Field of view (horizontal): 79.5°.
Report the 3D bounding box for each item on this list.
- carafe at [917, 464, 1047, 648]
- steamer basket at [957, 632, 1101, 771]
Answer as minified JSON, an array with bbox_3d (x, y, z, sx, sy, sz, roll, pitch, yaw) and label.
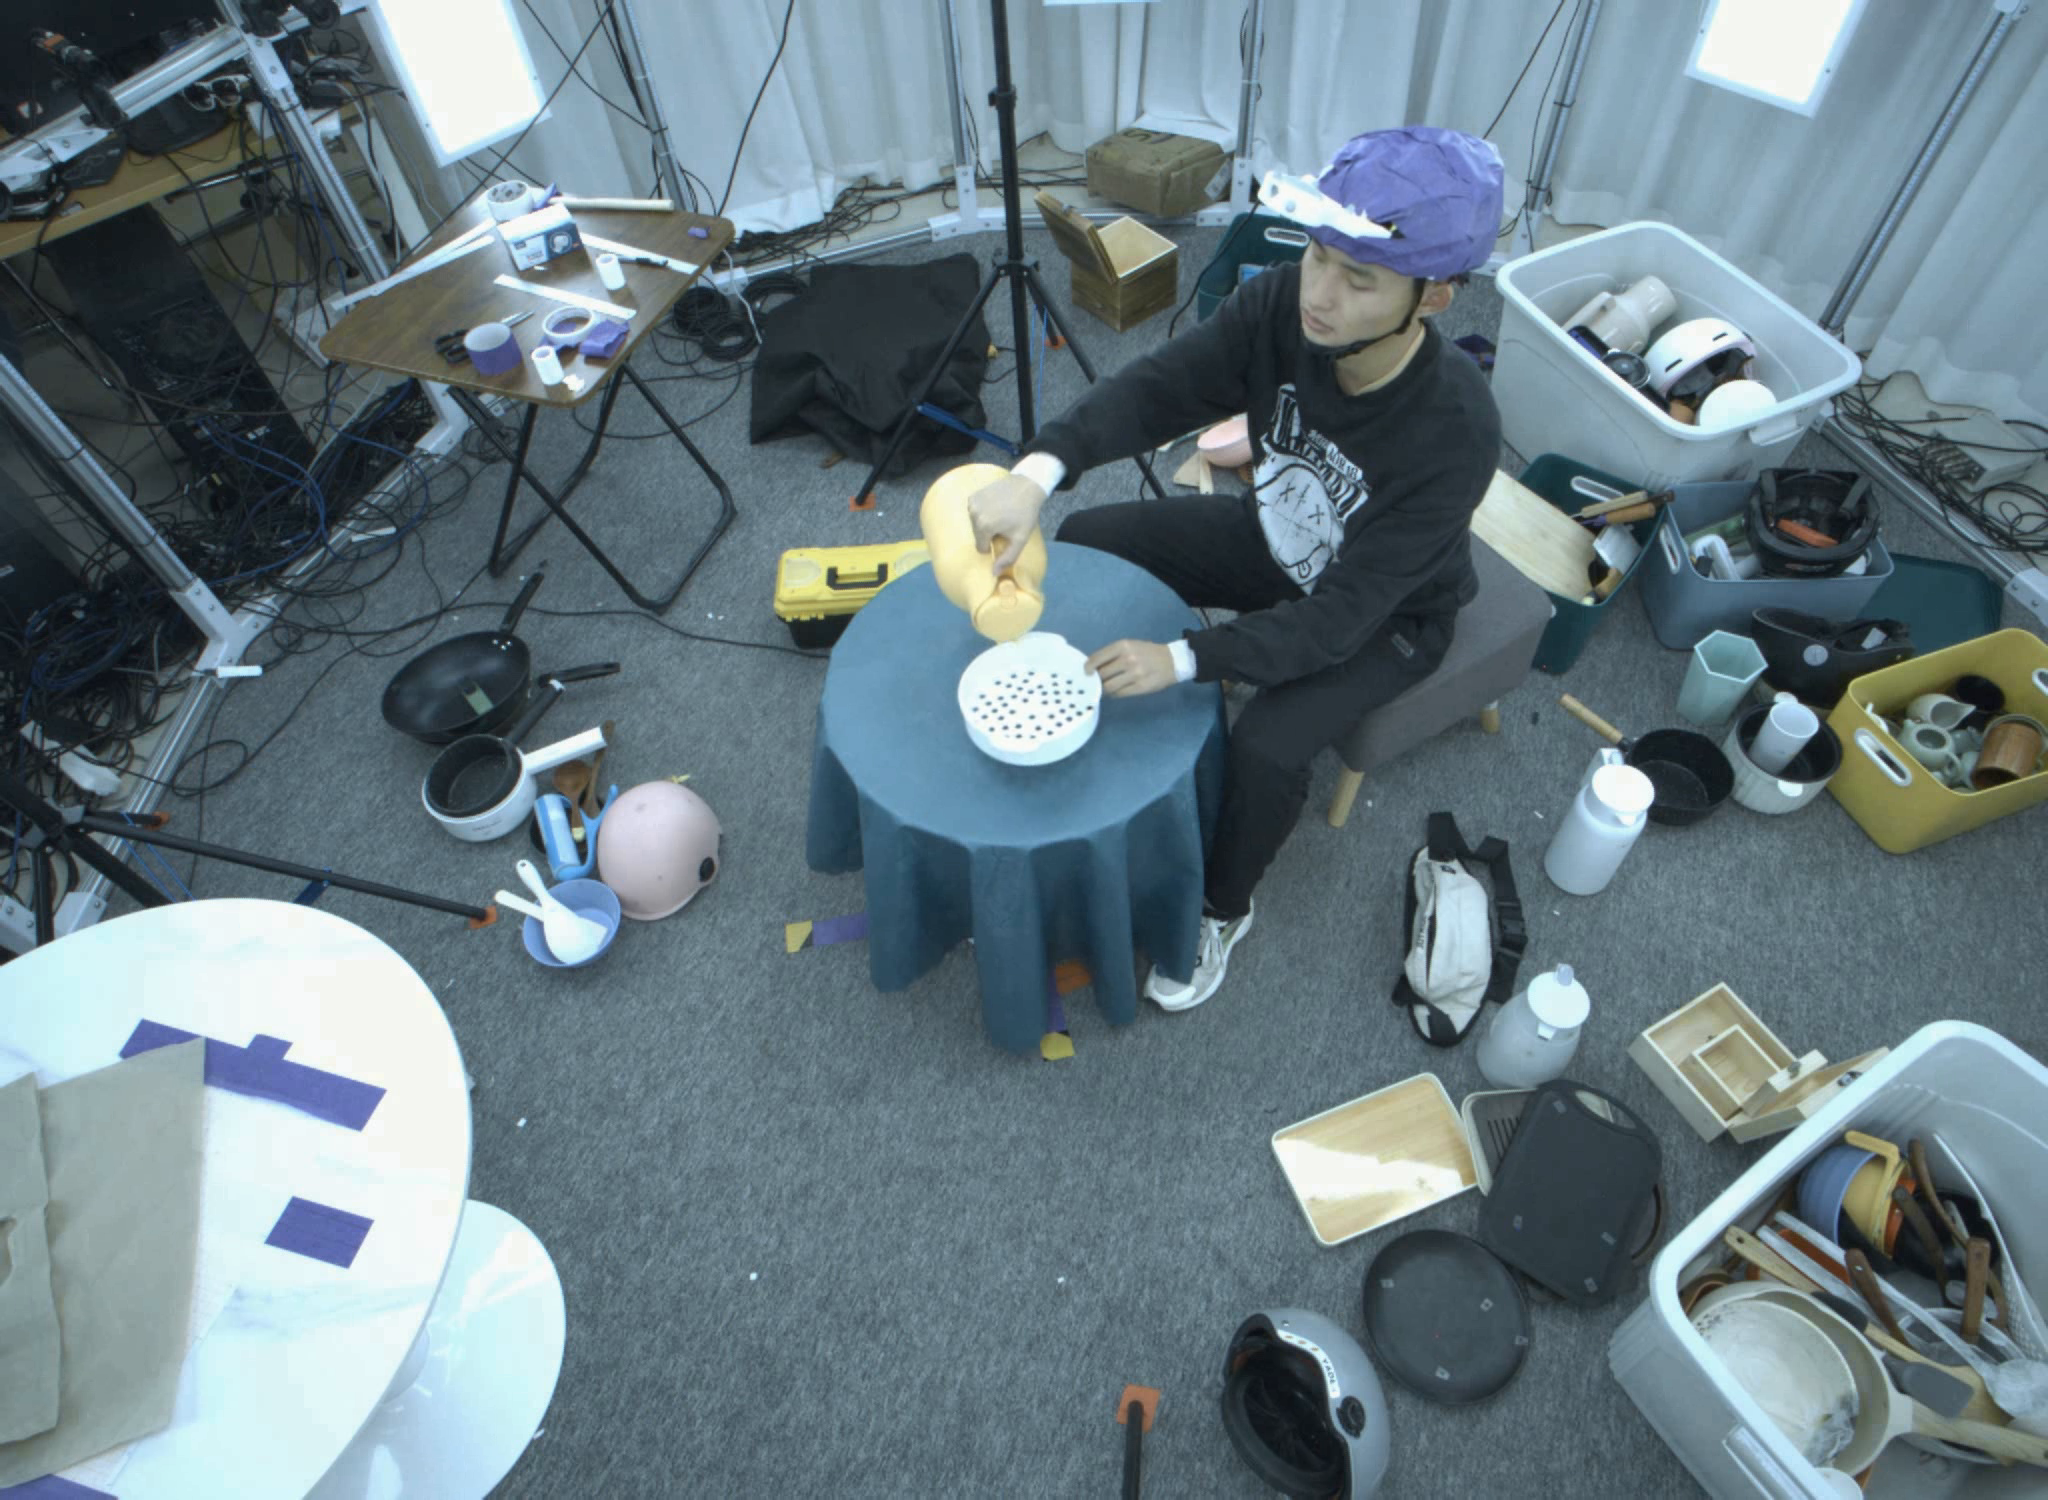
[{"bbox_3d":[-0.050,-0.284,1.708,0.165,0.204,0.256,-12,56,-12],"label":"carafe"},{"bbox_3d":[0.009,-0.064,1.745,0.201,0.070,0.229,7,55,8],"label":"steamer basket"}]
